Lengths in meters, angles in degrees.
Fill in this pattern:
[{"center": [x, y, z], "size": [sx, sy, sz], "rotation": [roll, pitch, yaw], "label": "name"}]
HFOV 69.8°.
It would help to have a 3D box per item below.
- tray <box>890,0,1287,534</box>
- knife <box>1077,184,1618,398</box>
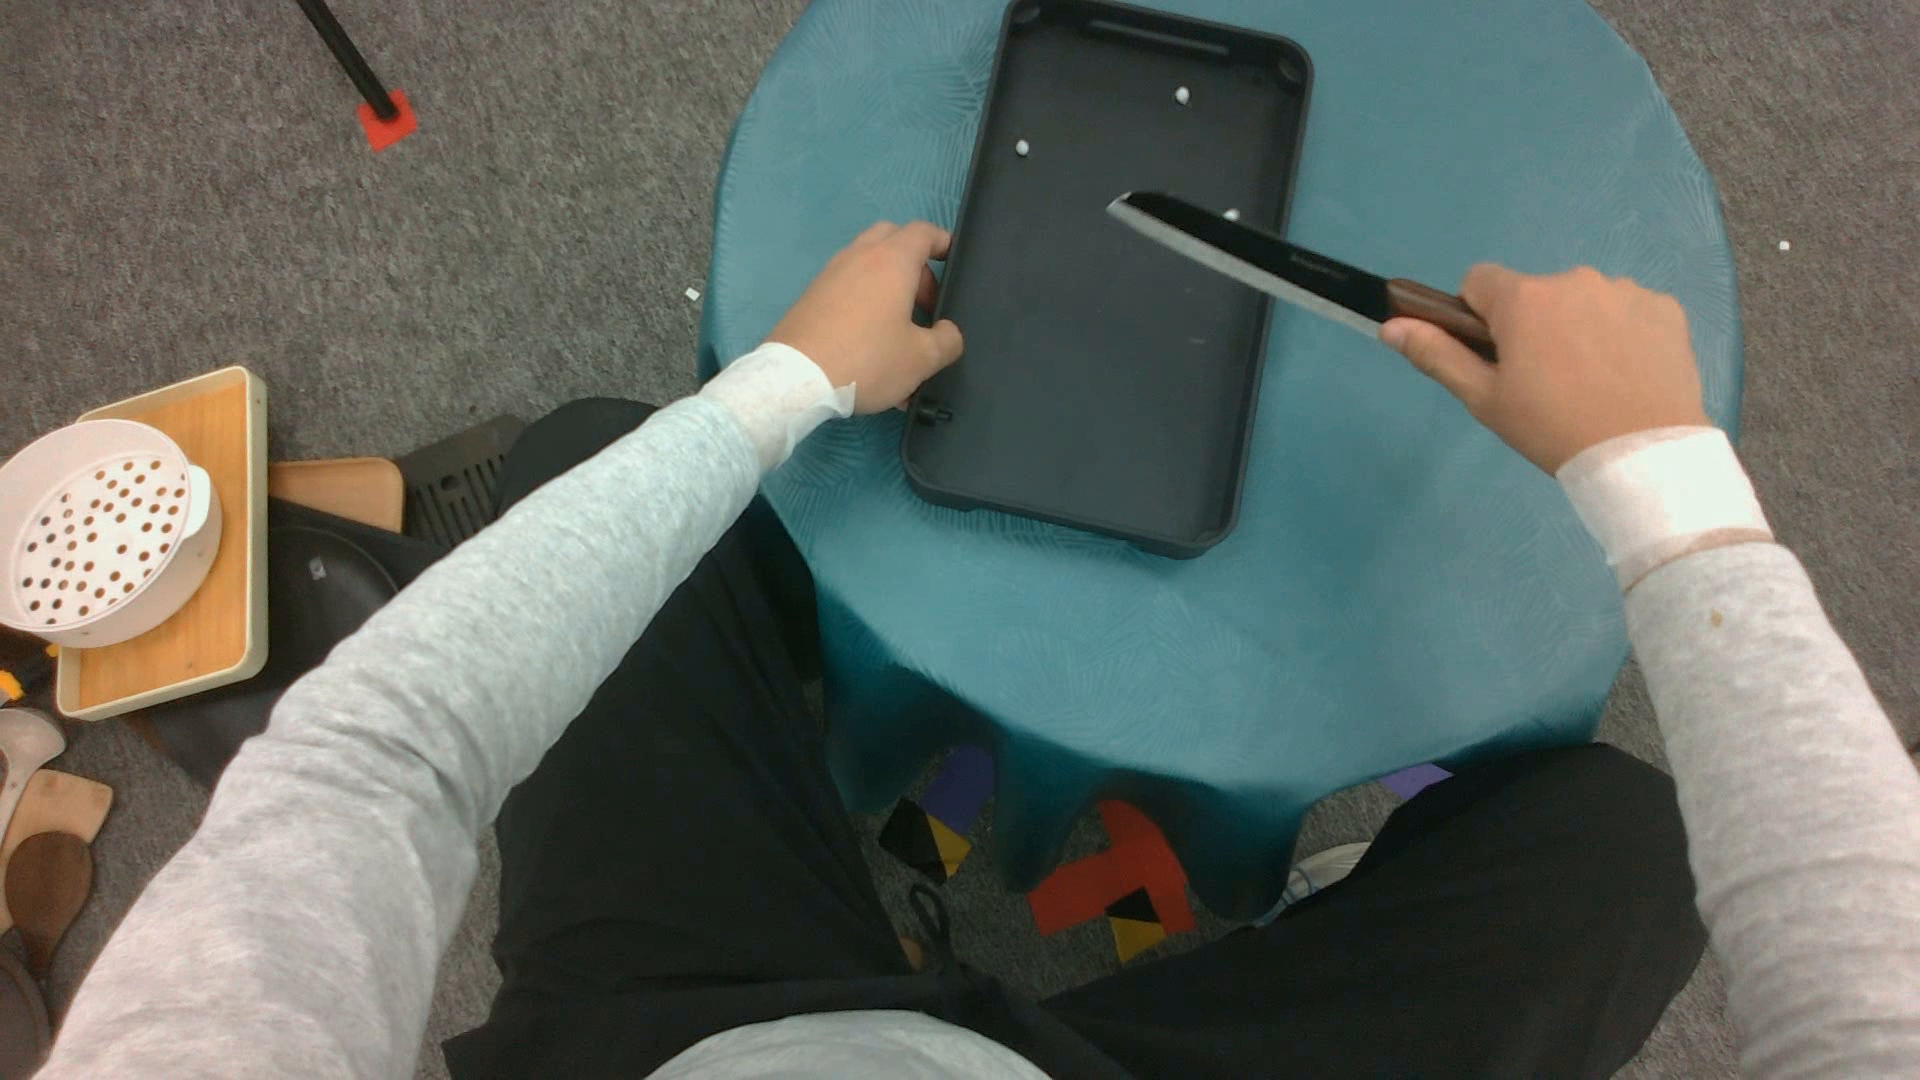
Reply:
[{"center": [0.076, -0.167, 0.778], "size": [0.184, 0.037, 0.319], "rotation": [10, 74, 0], "label": "tray"}, {"center": [0.180, -0.129, 0.690], "size": [0.289, 0.050, 0.020], "rotation": [26, 68, 26], "label": "knife"}]
